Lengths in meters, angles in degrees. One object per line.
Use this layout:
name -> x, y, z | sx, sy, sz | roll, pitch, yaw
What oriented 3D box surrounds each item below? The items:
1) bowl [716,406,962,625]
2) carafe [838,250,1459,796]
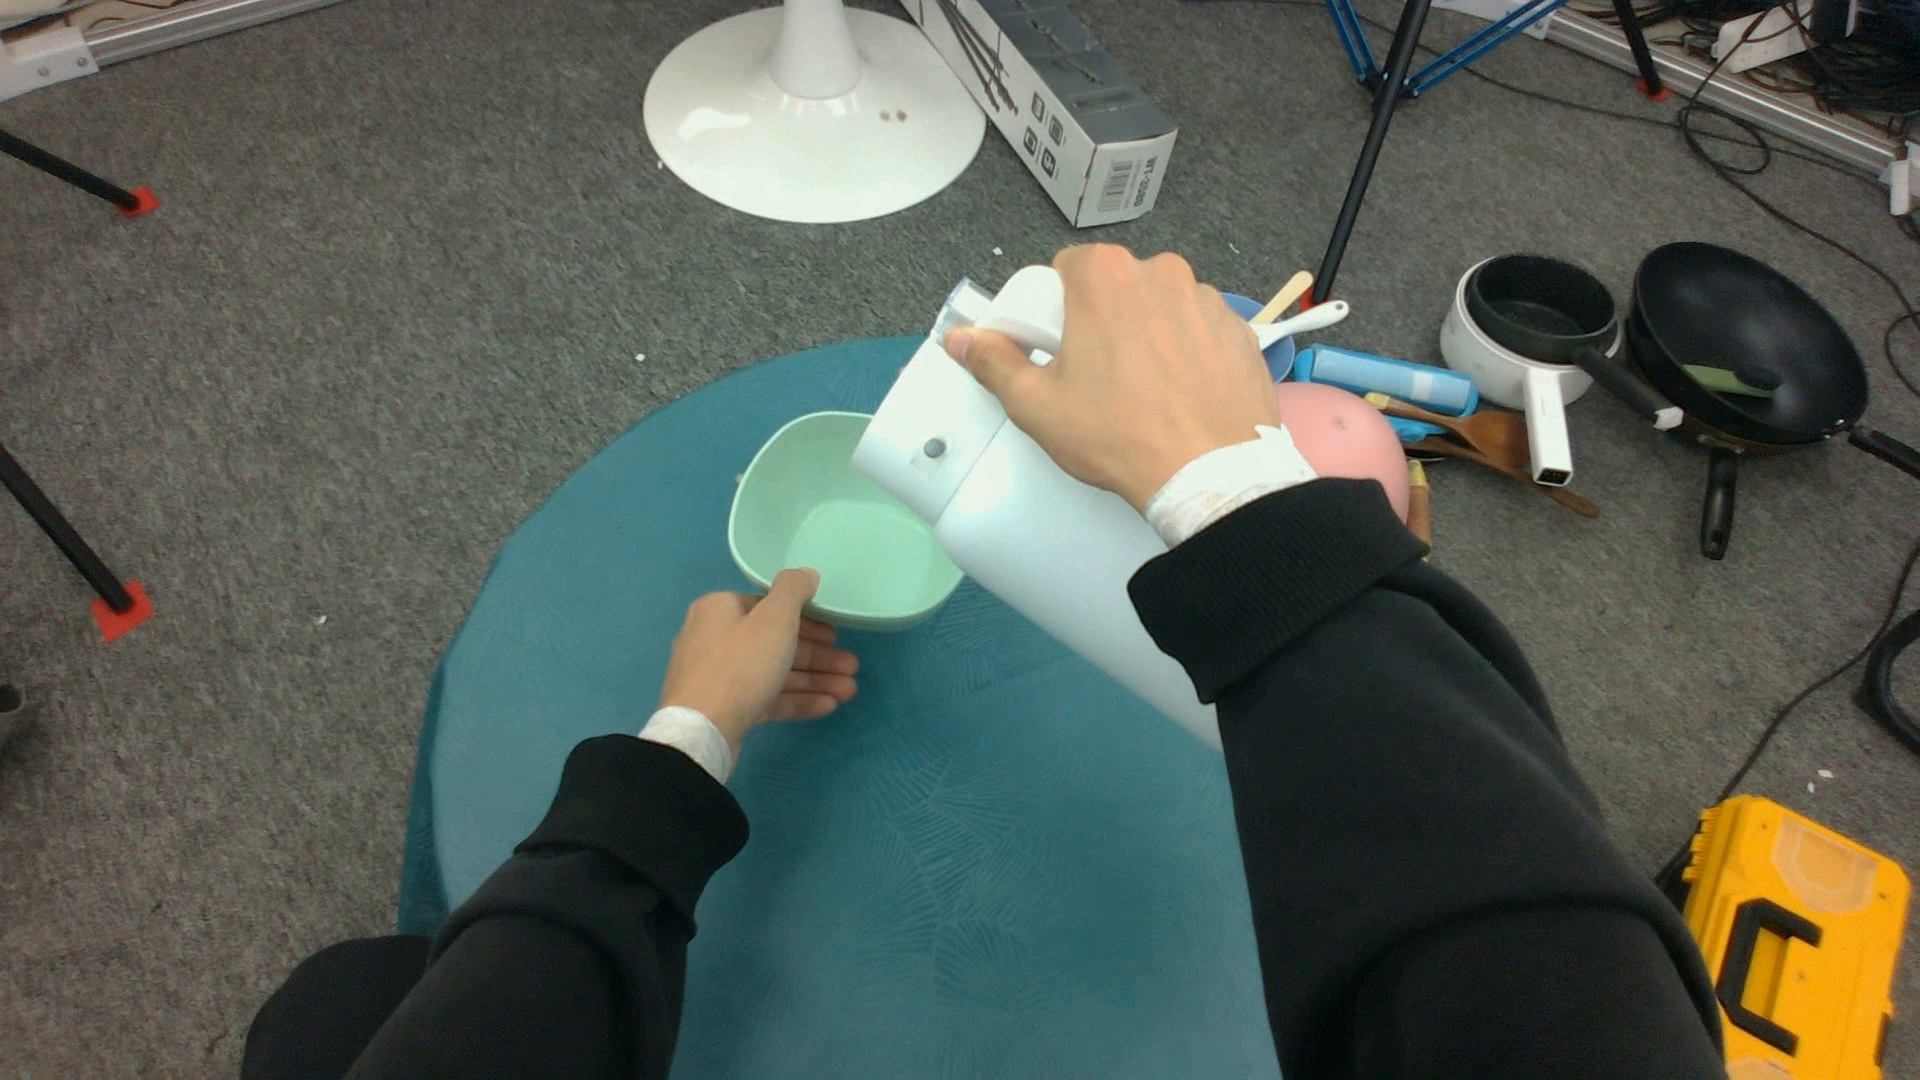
bowl -> -0.064, -0.005, 0.786 | 0.151, 0.058, 0.152 | 3, 53, -4
carafe -> 0.087, -0.013, 0.606 | 0.269, 0.172, 0.124 | 36, 58, 1
